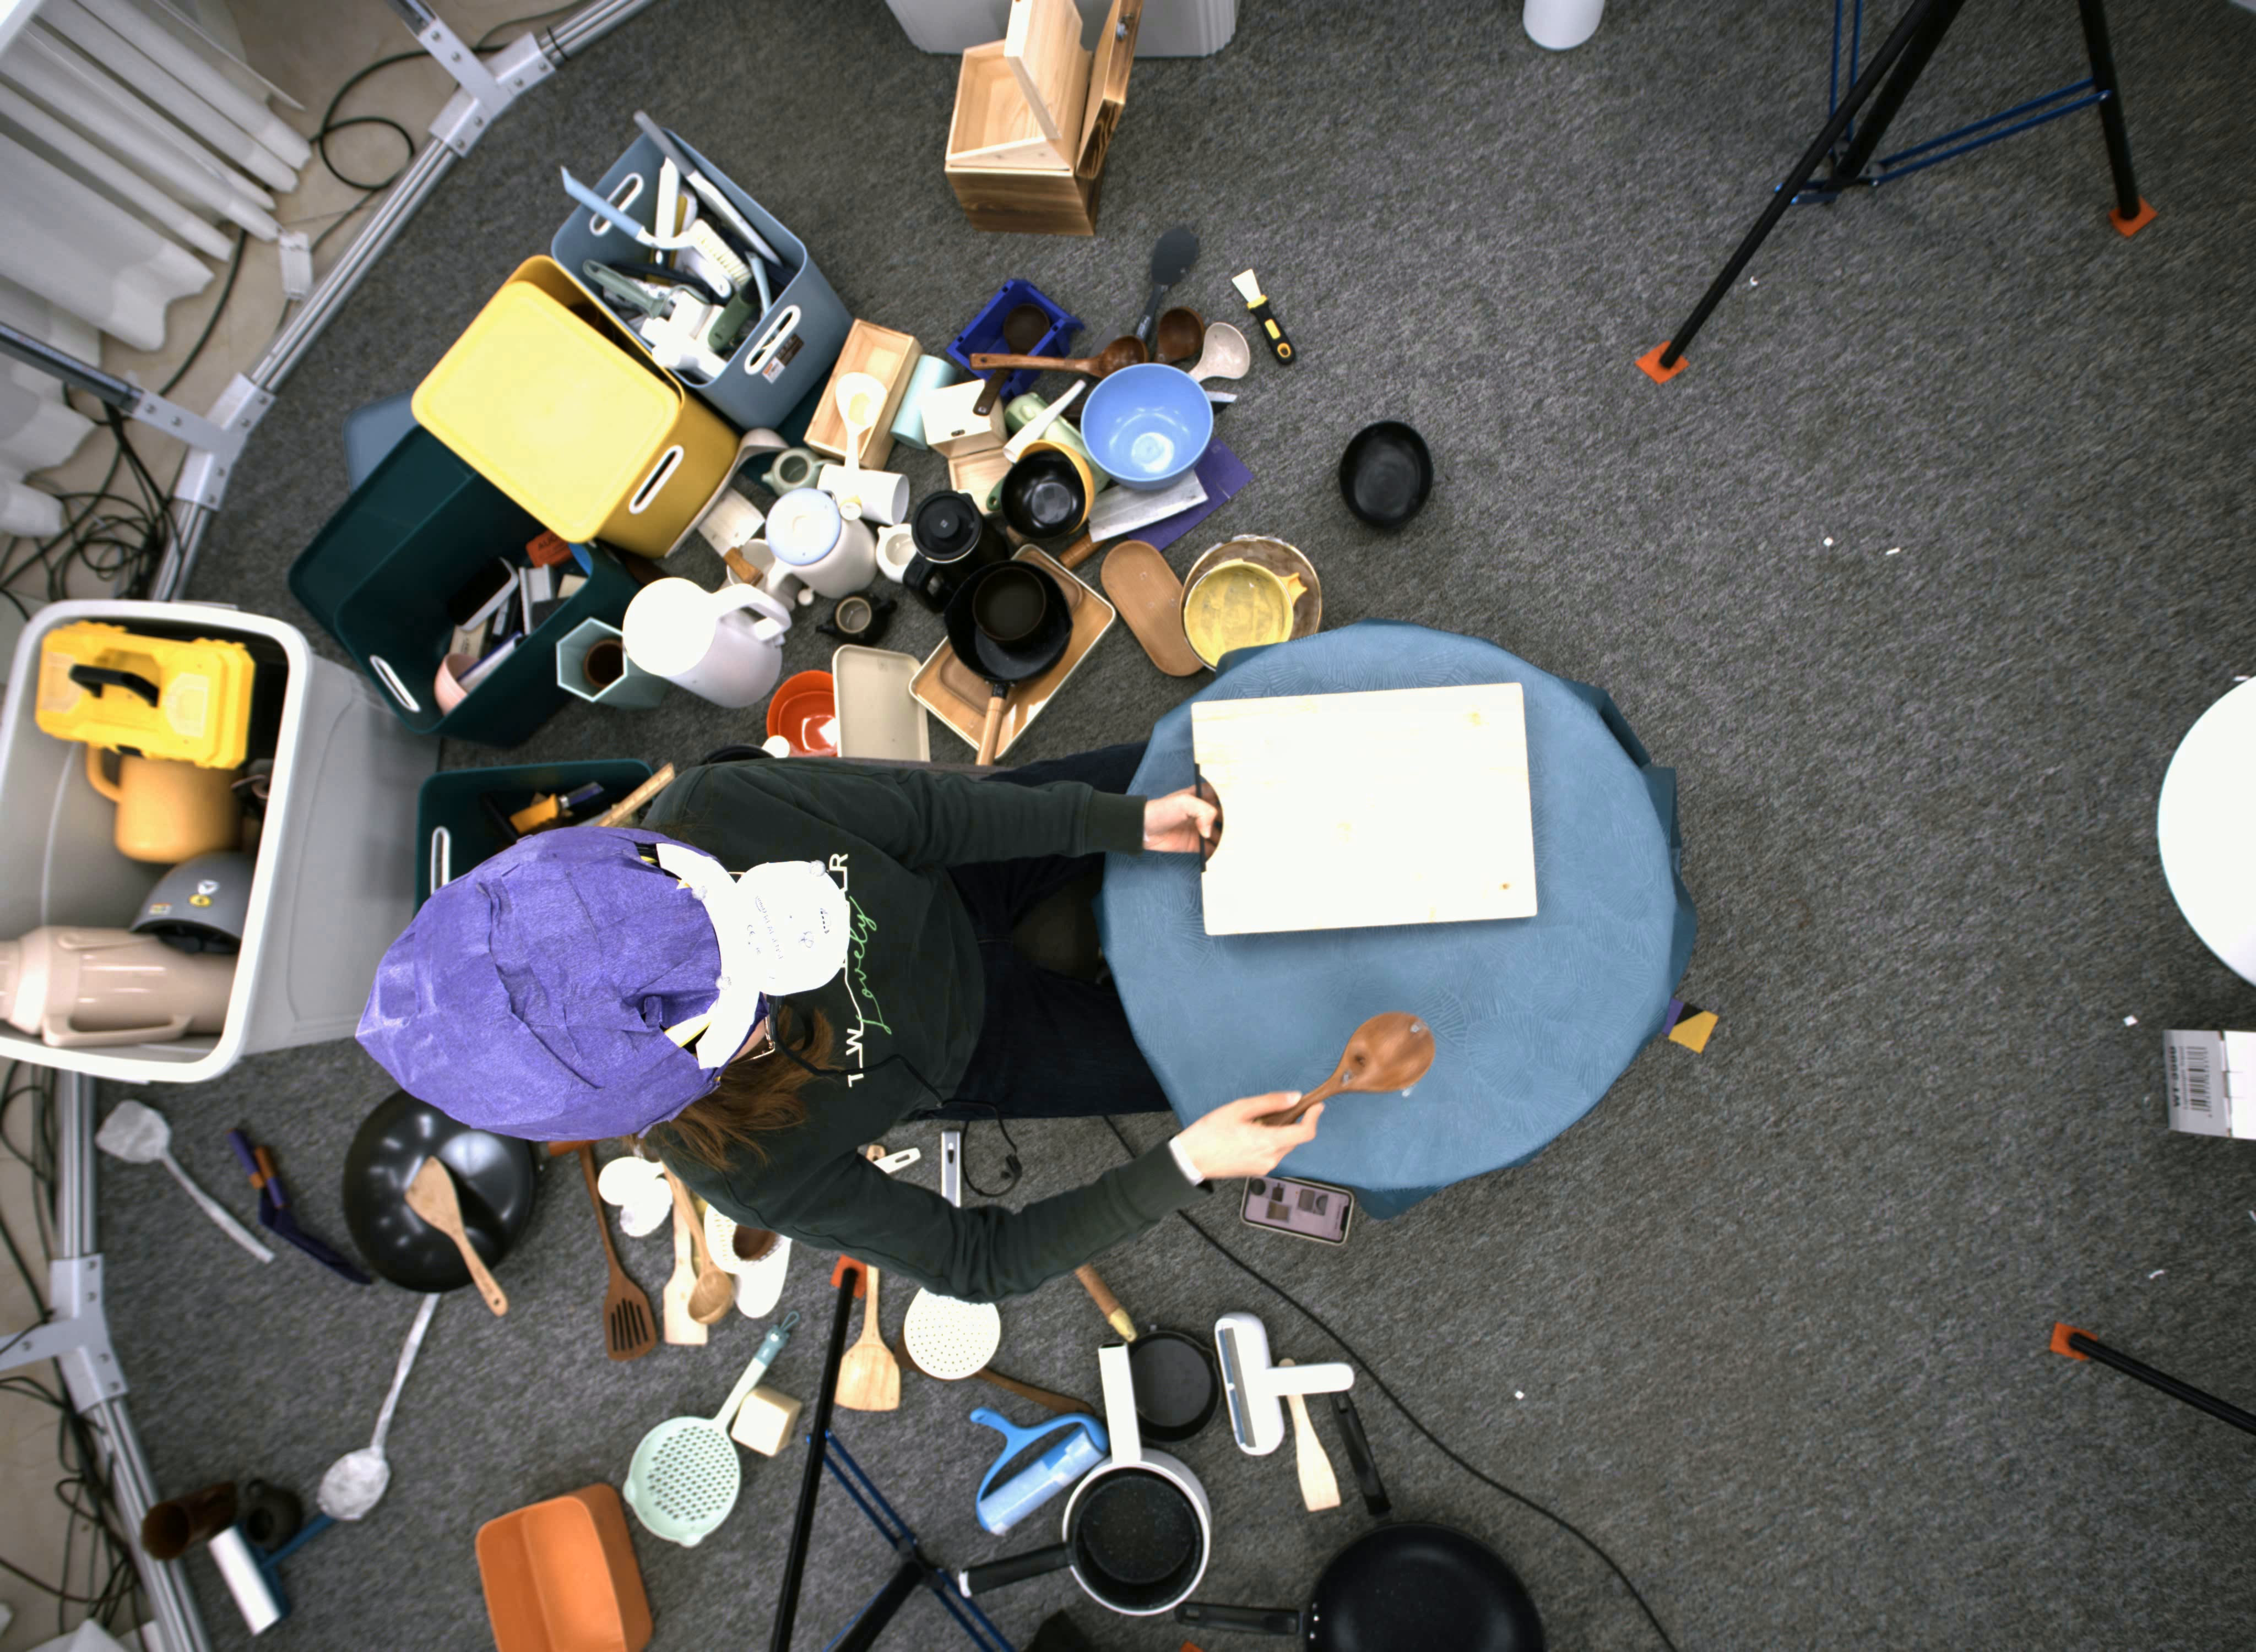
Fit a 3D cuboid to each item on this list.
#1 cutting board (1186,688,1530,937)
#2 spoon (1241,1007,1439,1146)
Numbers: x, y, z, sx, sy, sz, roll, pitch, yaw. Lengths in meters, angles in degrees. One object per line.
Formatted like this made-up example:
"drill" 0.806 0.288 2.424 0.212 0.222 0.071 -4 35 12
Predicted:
"cutting board" 0.239 -0.016 1.425 0.349 0.023 0.250 -4 89 2
"spoon" 0.200 0.241 1.312 0.214 0.017 0.074 -27 73 -13
